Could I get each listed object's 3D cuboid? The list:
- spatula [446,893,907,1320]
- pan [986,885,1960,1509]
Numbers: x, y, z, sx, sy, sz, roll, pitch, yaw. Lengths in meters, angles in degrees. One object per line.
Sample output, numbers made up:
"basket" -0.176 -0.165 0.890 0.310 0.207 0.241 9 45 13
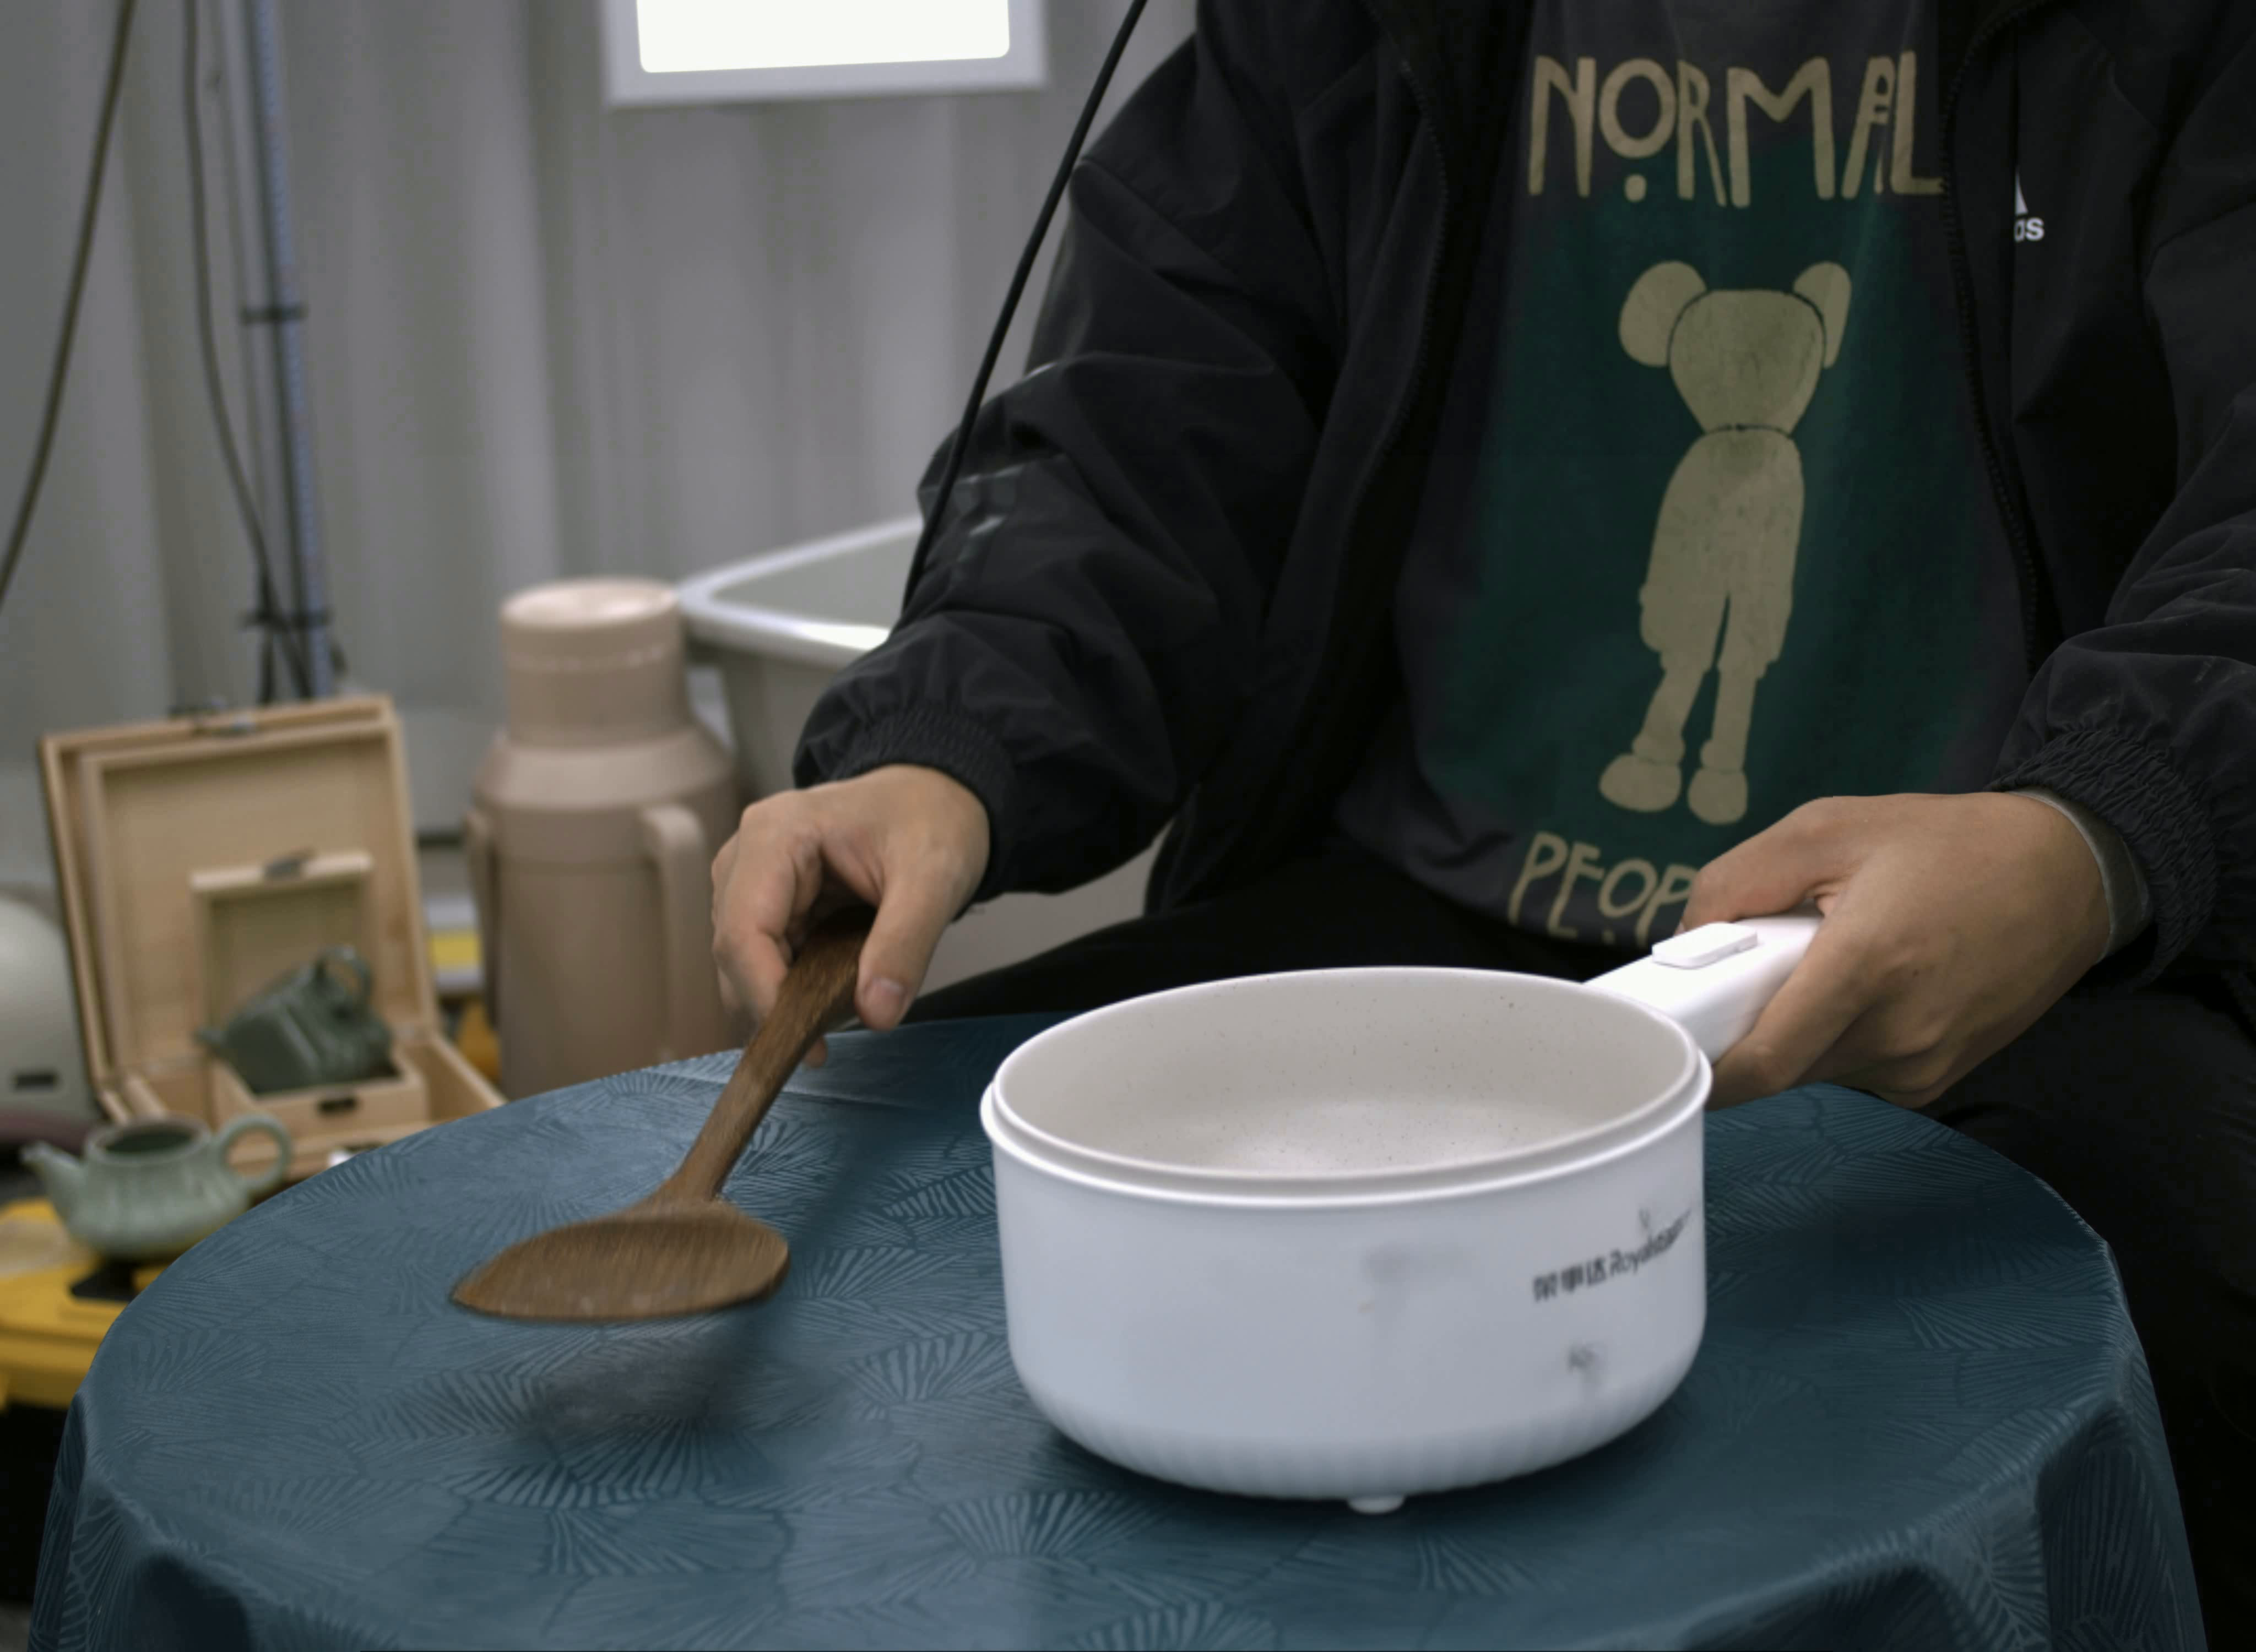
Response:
"spatula" -0.118 0.080 1.693 0.096 0.016 0.388 -2 17 10
"pan" 0.116 0.099 1.561 0.202 0.102 0.354 8 17 44
